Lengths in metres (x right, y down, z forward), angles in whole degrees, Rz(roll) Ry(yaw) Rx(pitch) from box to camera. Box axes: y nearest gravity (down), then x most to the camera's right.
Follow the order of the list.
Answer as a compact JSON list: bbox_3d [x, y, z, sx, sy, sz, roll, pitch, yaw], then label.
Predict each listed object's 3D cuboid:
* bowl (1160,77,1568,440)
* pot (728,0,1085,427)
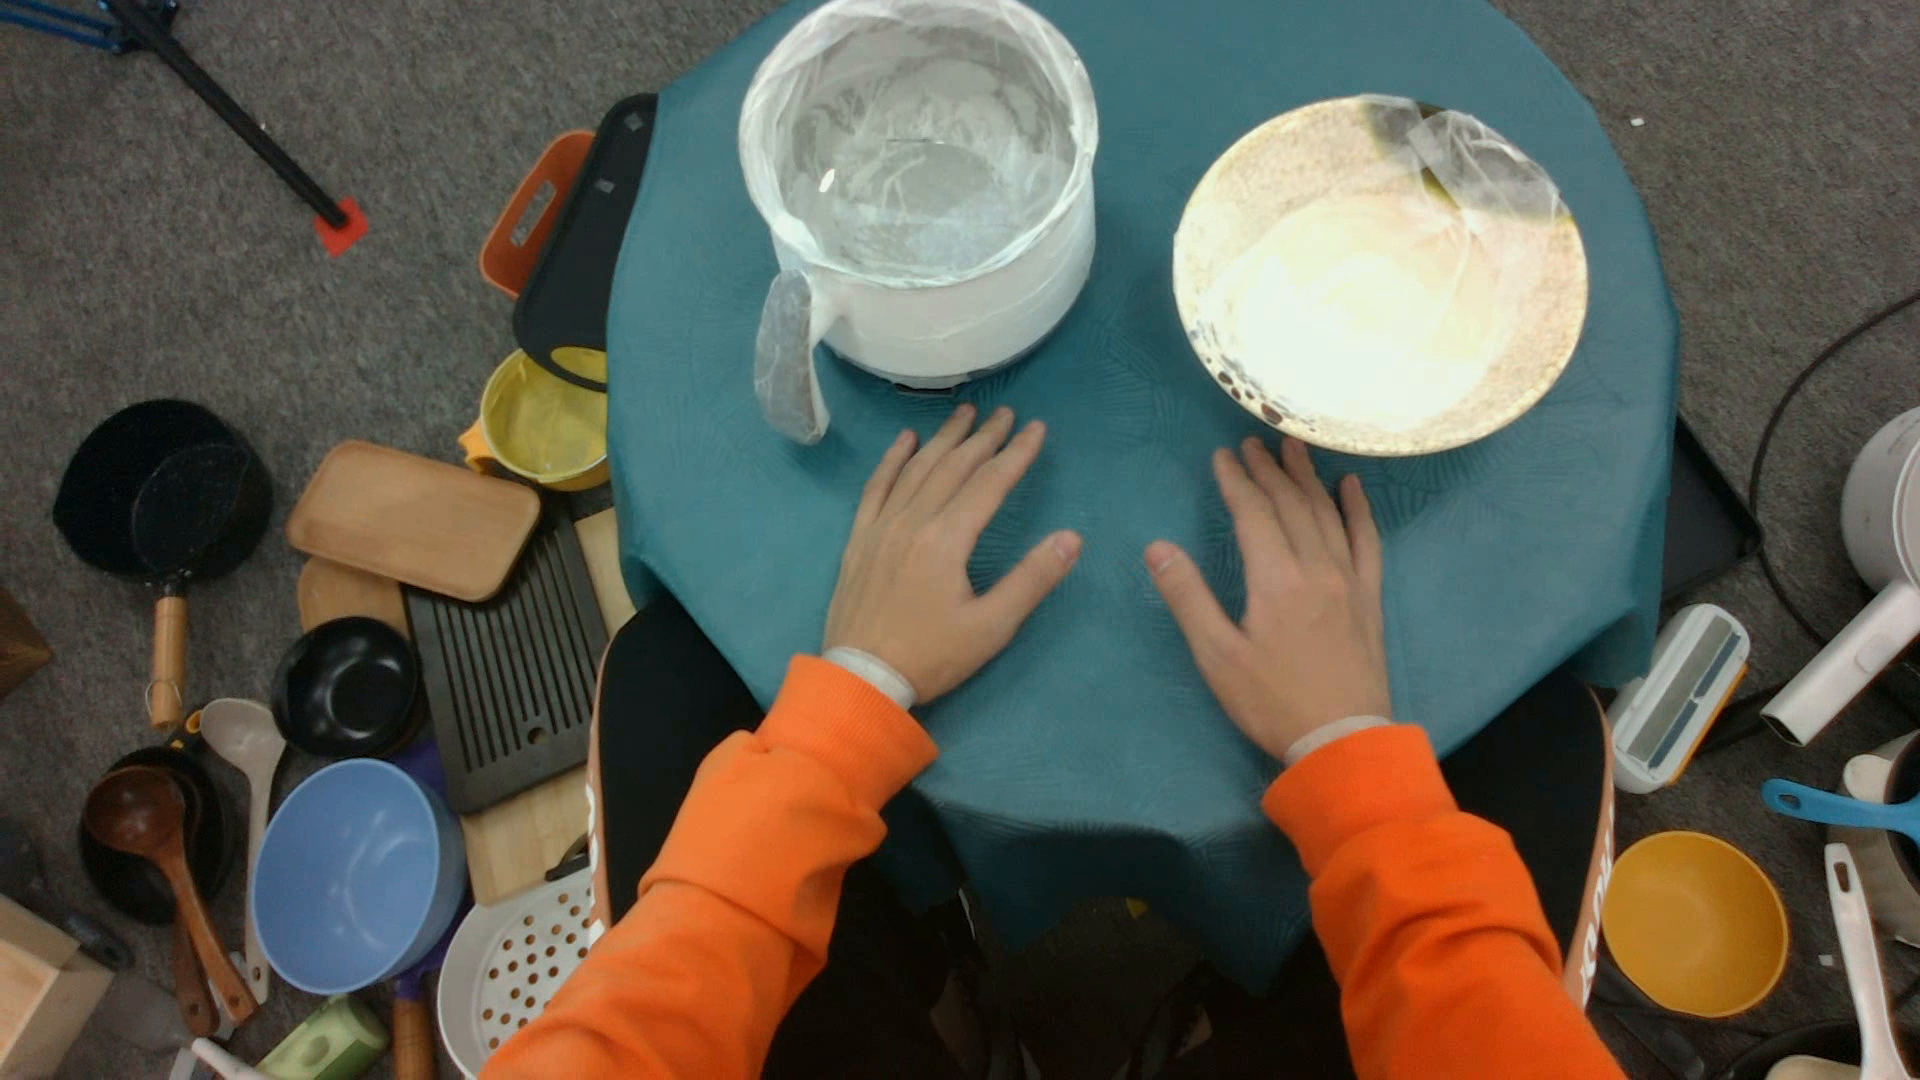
[{"bbox_3d":[0.207,-0.138,0.735,0.204,0.078,0.204,-1,74,4],"label":"bowl"},{"bbox_3d":[-0.038,-0.170,0.729,0.179,0.136,0.234,31,76,13],"label":"pot"}]
